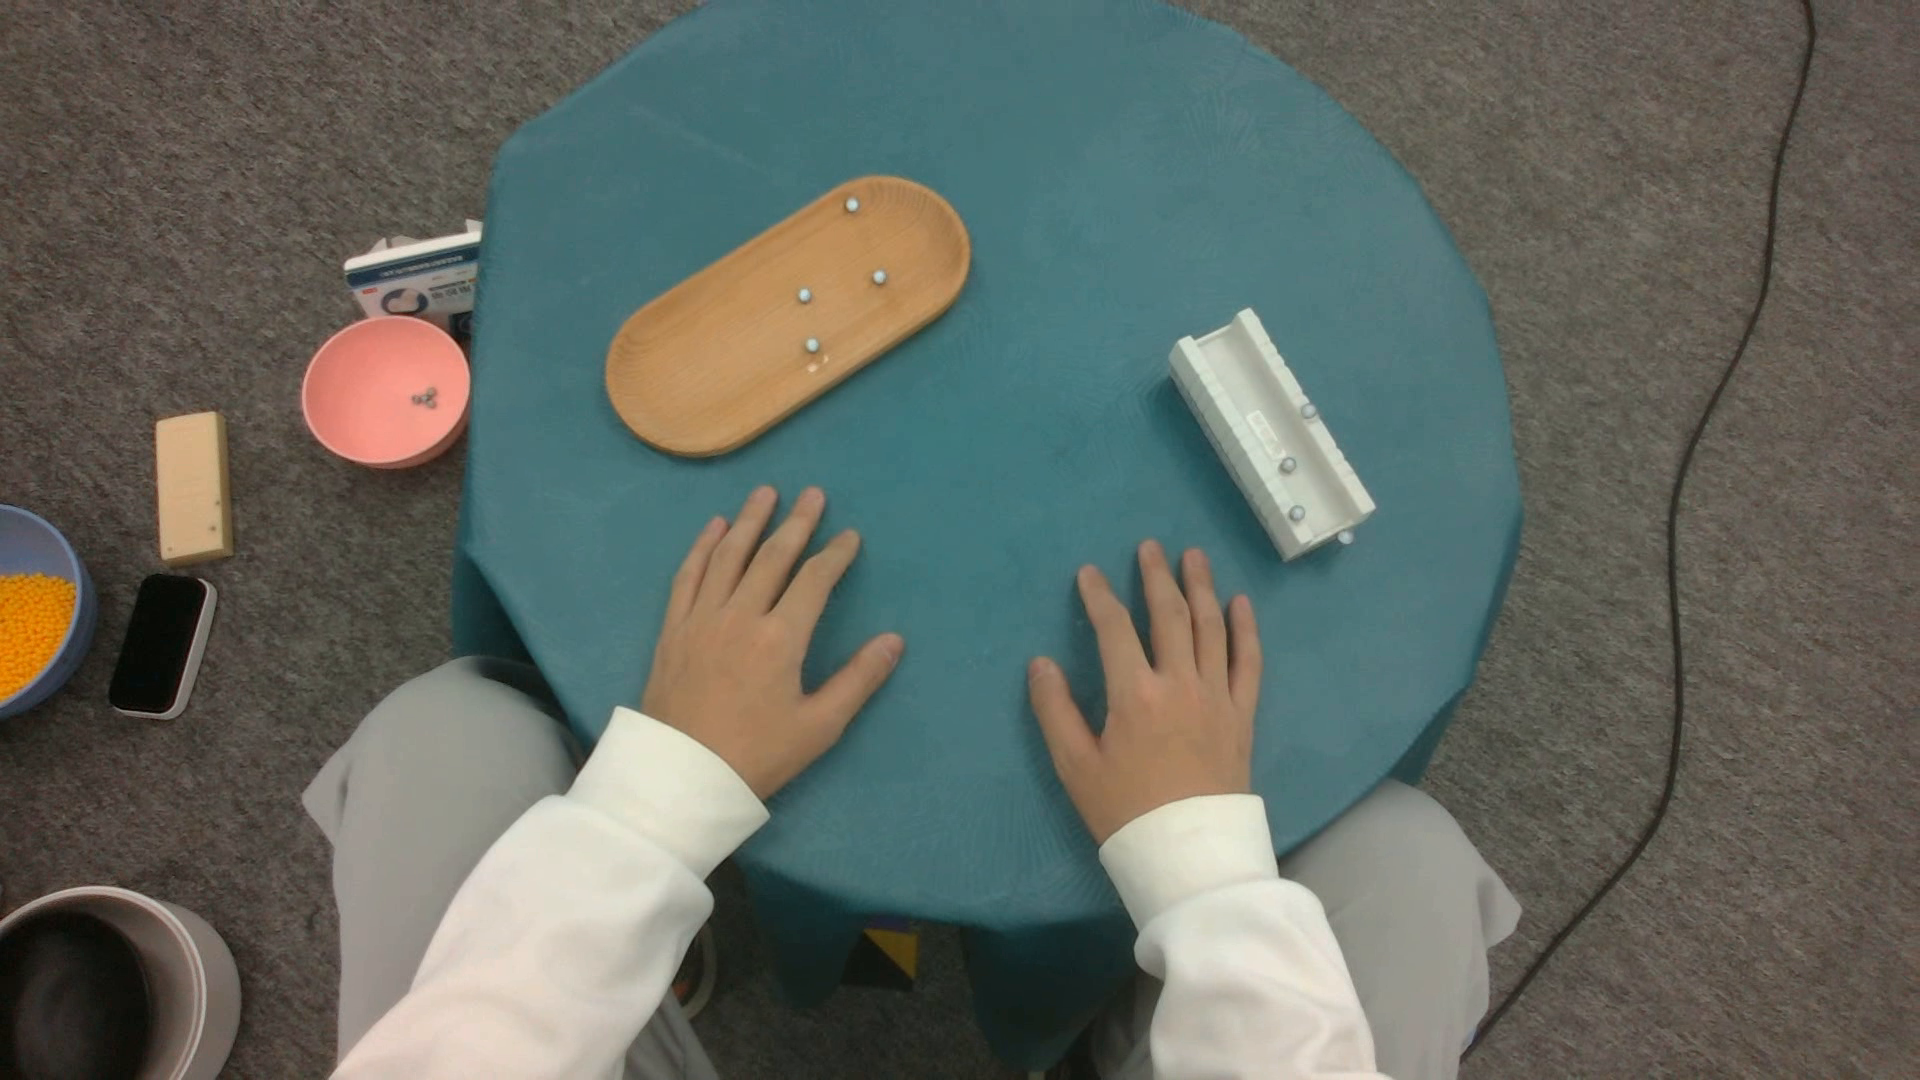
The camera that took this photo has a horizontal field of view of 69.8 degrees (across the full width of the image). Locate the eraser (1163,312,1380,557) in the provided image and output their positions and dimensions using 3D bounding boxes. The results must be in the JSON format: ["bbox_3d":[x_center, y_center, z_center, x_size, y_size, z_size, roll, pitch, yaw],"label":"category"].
[{"bbox_3d":[0.174,-0.059,0.781,0.050,0.046,0.134,-32,75,-8],"label":"eraser"}]

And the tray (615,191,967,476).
[{"bbox_3d":[-0.096,-0.123,0.809,0.231,0.020,0.102,-38,75,-13],"label":"tray"}]
